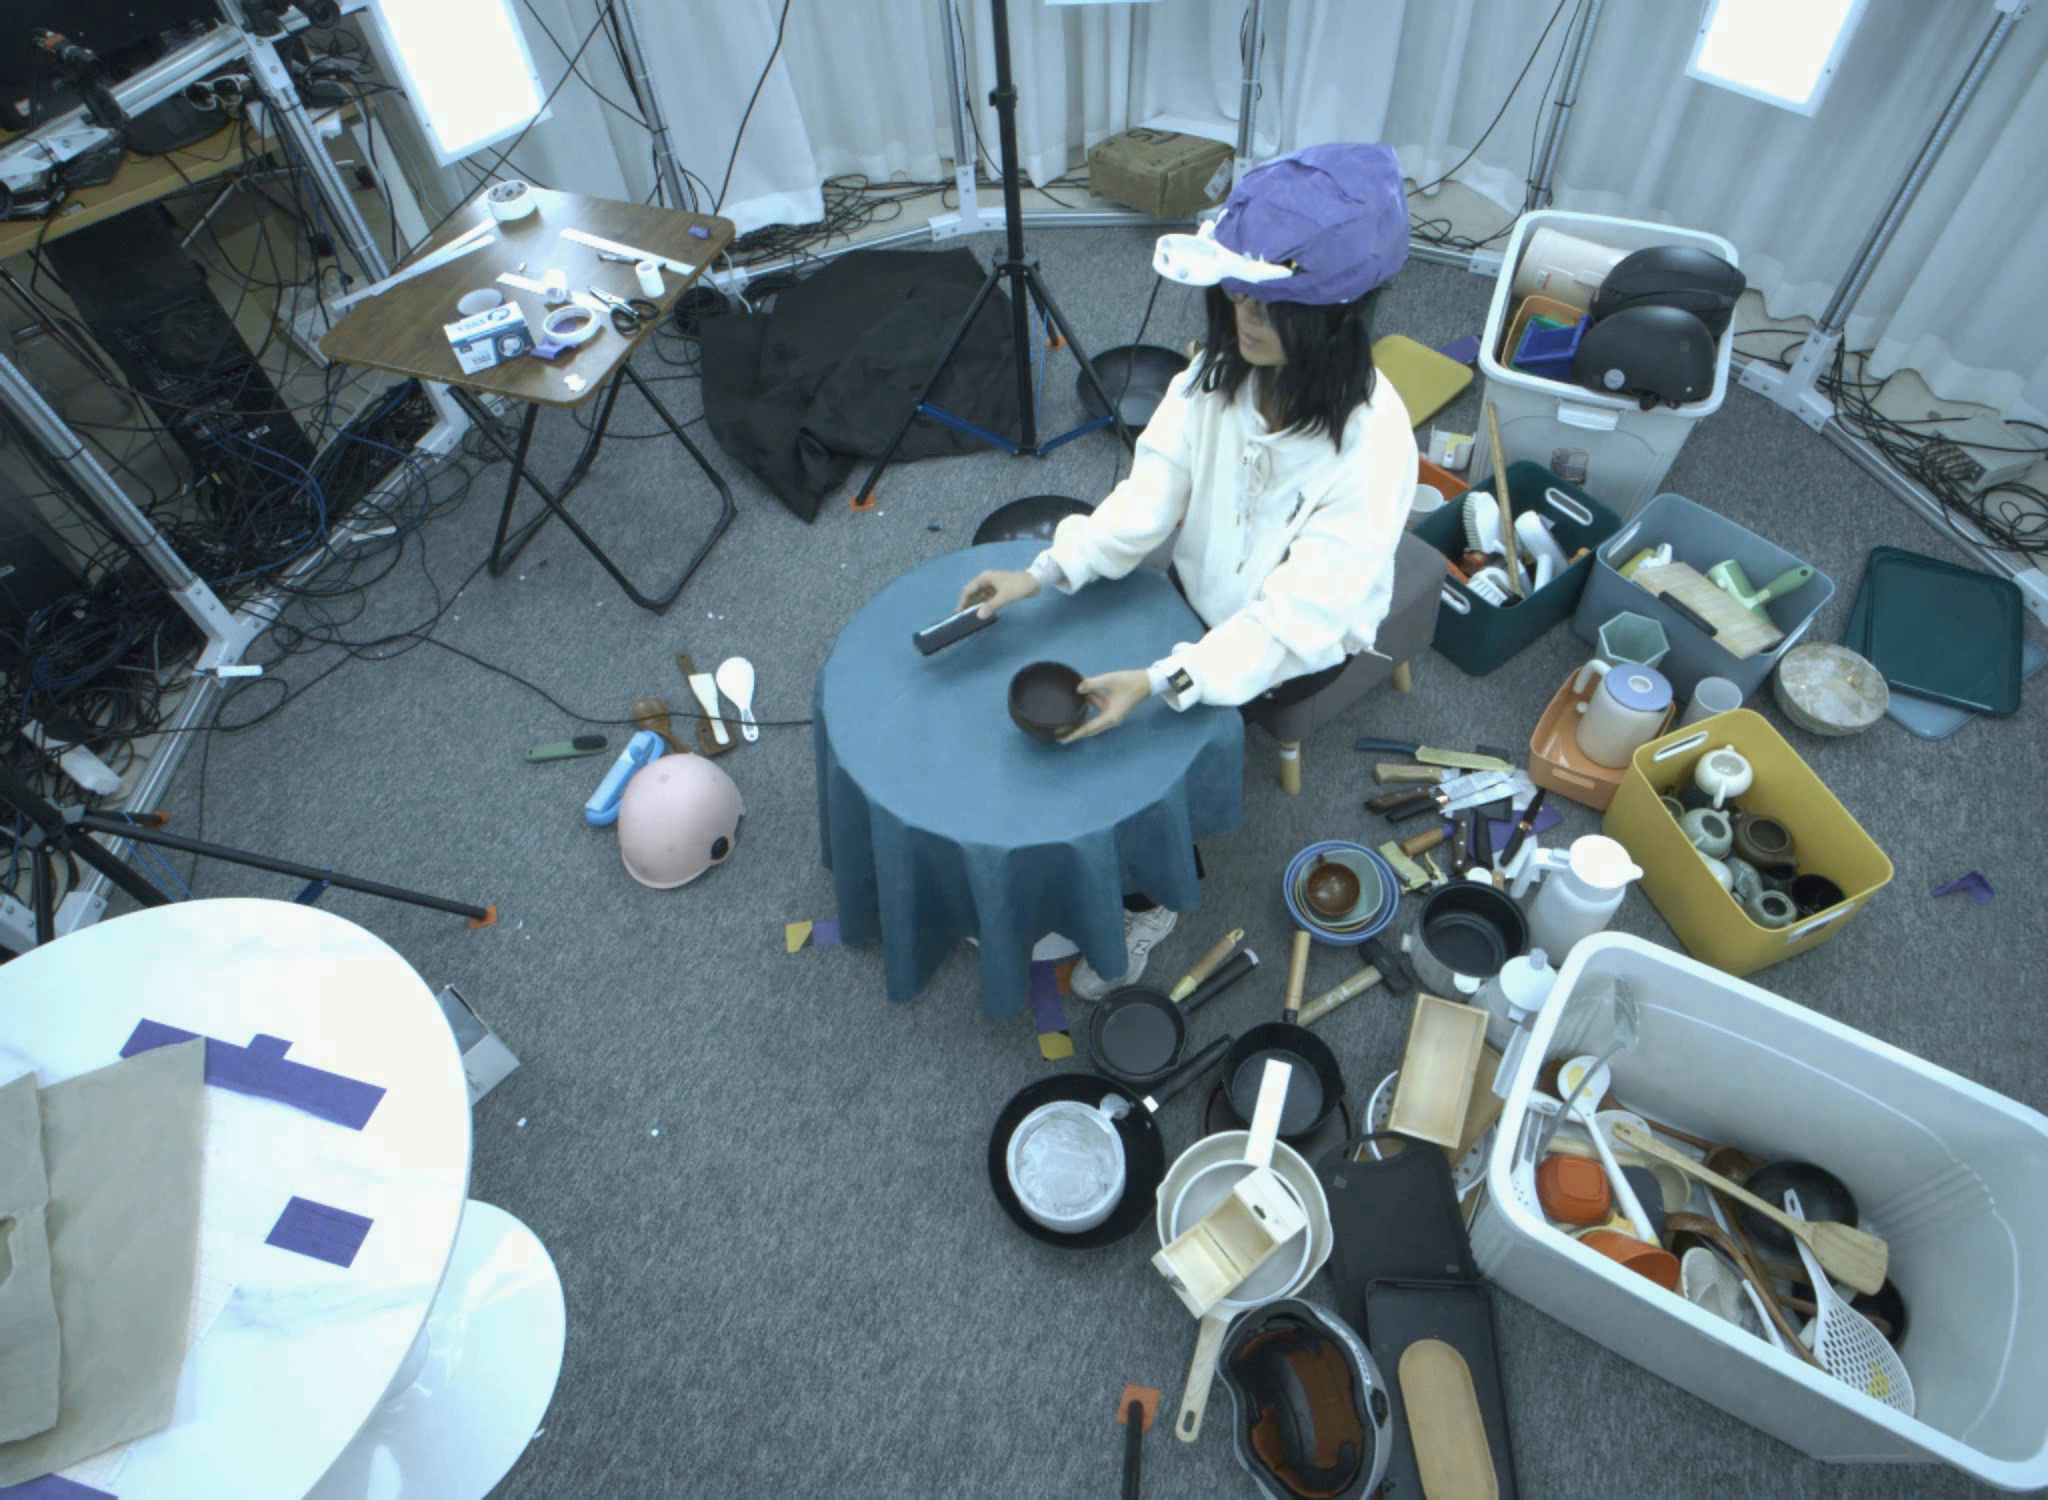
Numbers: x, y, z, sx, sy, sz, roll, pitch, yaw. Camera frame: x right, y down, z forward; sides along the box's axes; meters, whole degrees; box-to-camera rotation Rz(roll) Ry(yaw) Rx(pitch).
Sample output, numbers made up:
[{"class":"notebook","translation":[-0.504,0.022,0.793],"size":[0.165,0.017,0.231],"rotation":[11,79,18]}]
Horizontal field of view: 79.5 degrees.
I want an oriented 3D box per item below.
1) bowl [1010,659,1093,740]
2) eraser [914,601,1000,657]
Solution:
[{"class":"bowl","translation":[0.038,-0.065,1.763],"size":[0.118,0.070,0.117],"rotation":[3,56,-3]},{"class":"eraser","translation":[-0.102,-0.183,1.853],"size":[0.126,0.031,0.052],"rotation":[-28,24,-14]}]
